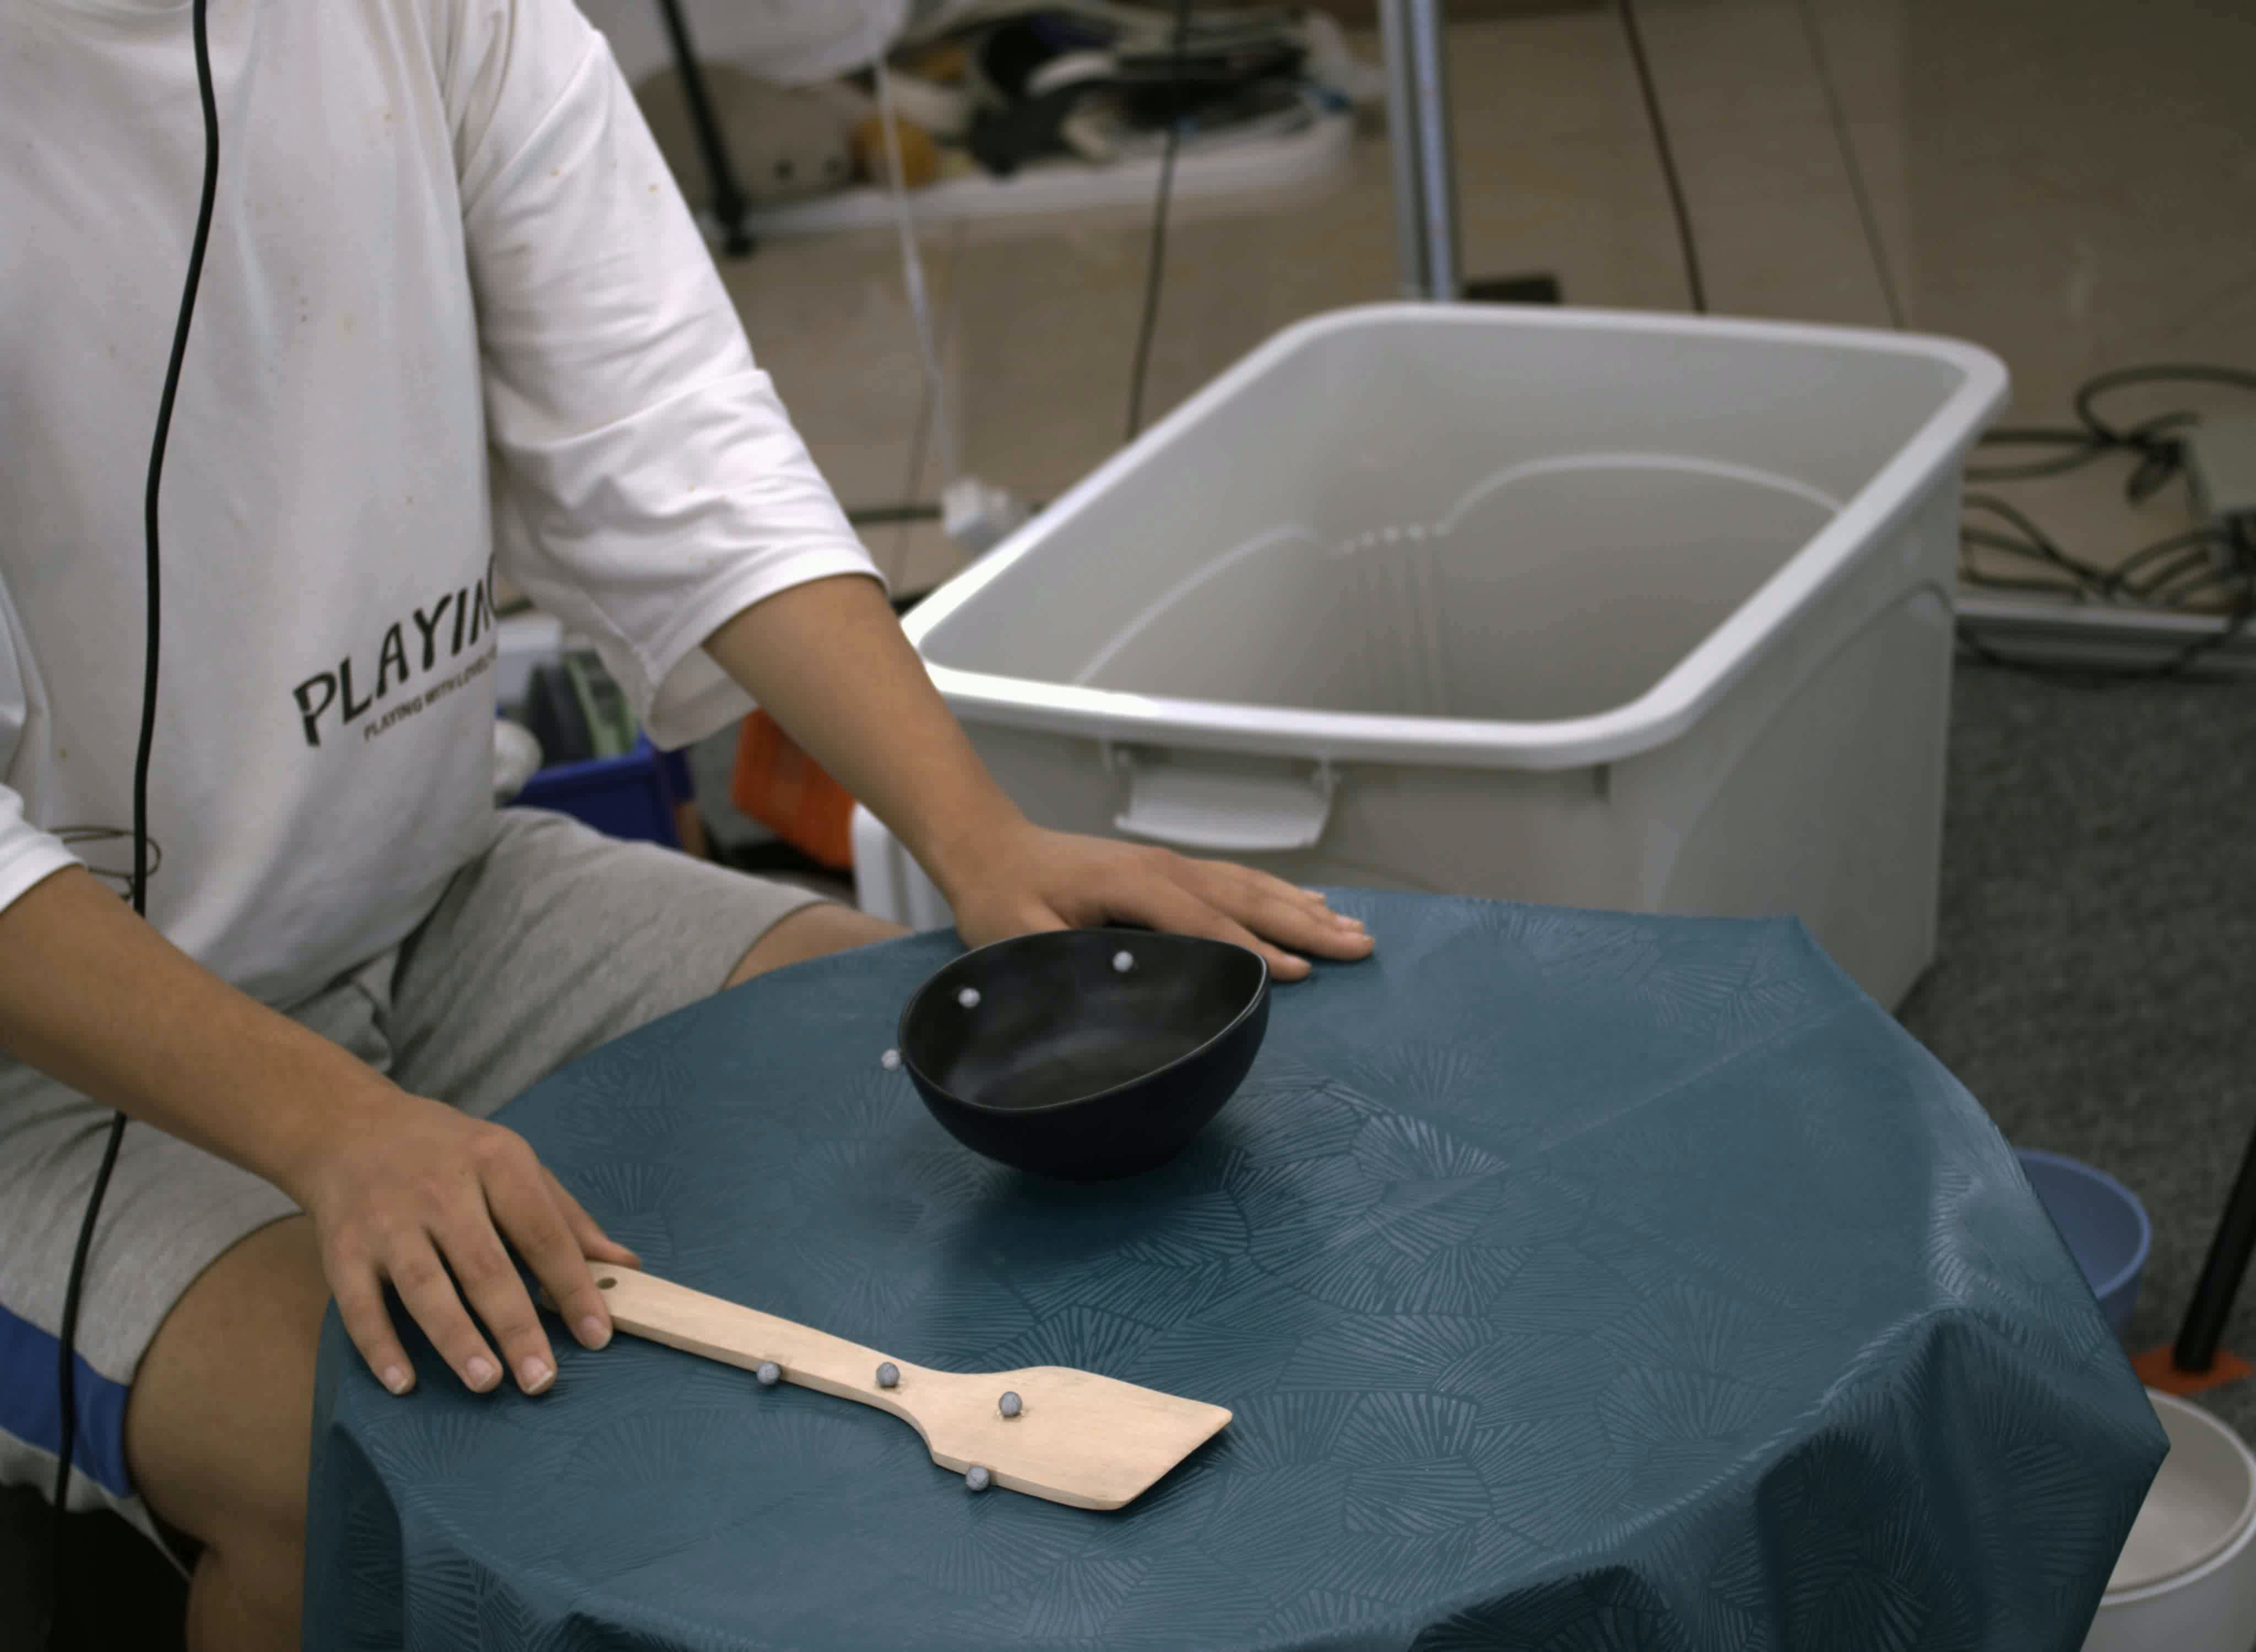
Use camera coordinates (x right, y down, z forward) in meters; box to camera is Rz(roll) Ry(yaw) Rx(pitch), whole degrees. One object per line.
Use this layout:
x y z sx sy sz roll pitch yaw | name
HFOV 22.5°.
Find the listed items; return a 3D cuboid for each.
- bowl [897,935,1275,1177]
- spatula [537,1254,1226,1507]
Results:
-0.013 0.092 2.174 0.137 0.068 0.168 6 26 26 | bowl
-0.100 0.194 2.039 0.291 0.011 0.071 13 32 35 | spatula
